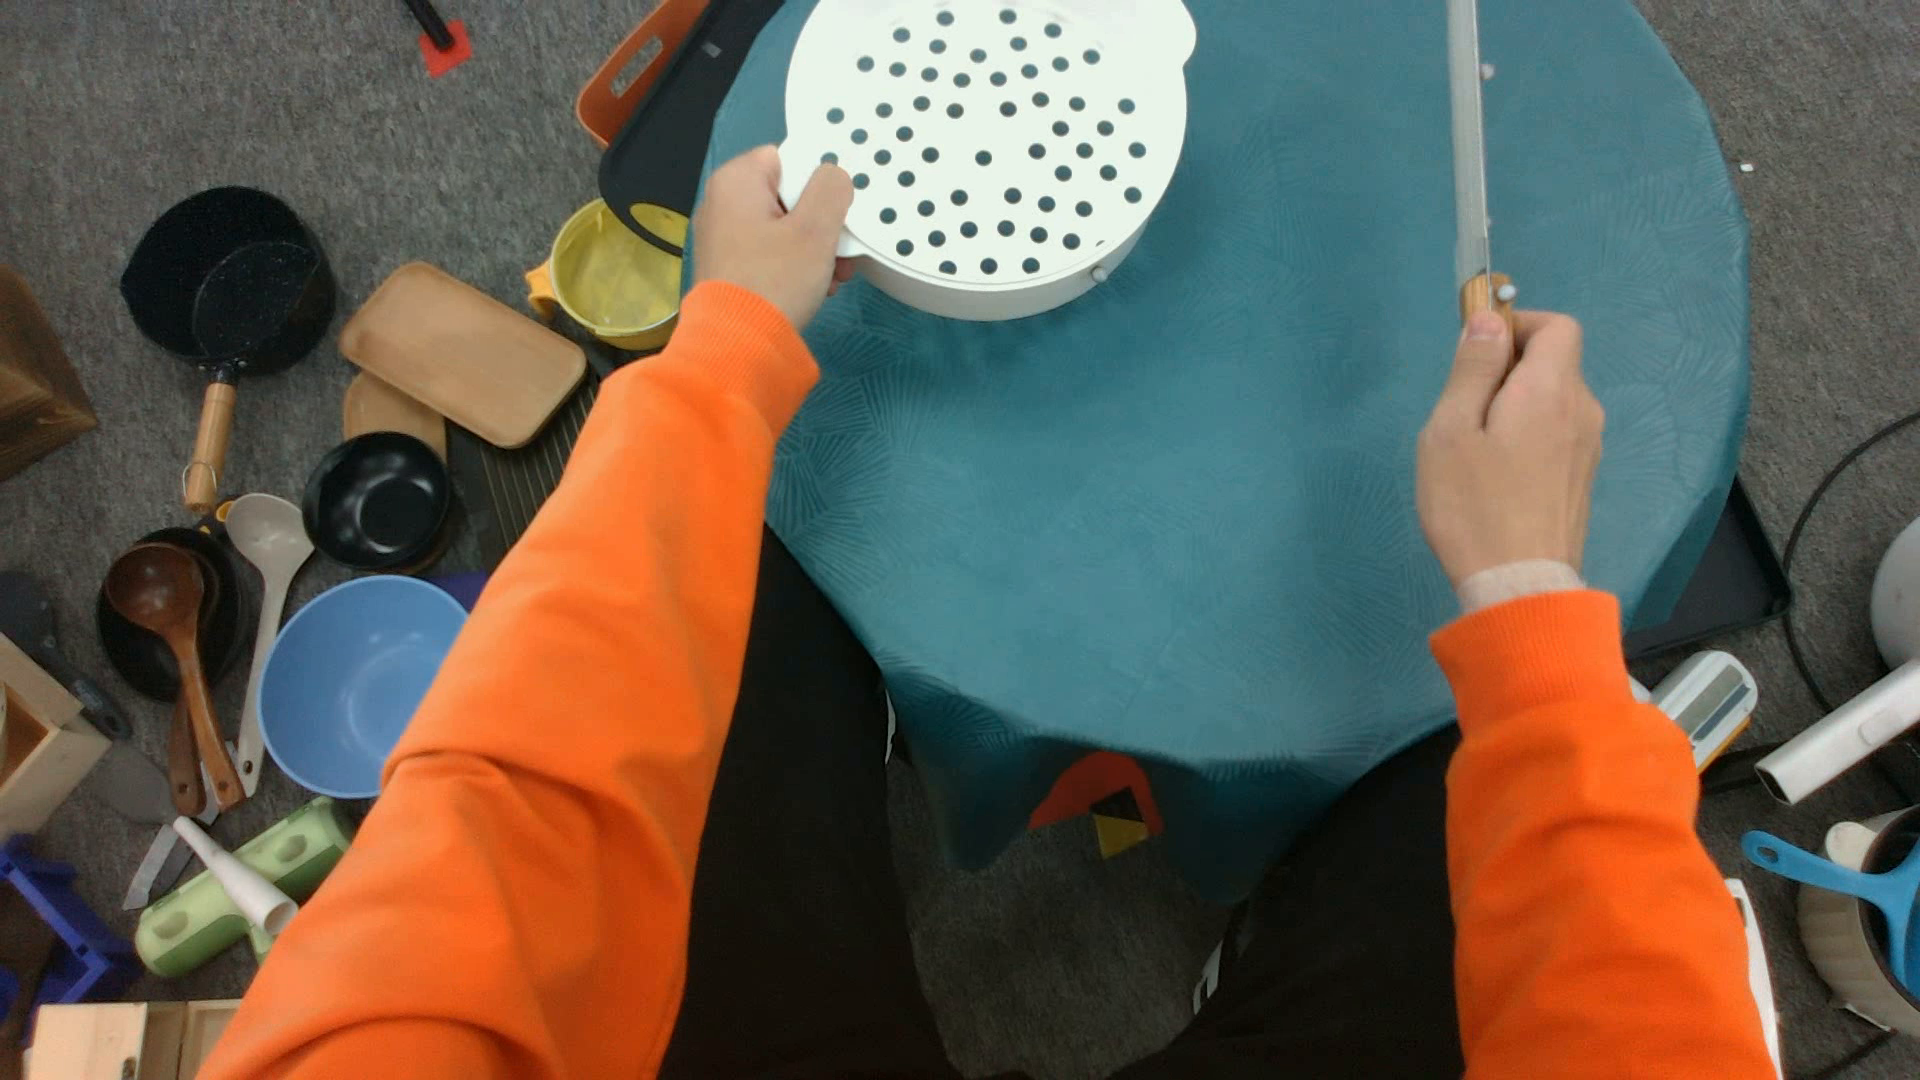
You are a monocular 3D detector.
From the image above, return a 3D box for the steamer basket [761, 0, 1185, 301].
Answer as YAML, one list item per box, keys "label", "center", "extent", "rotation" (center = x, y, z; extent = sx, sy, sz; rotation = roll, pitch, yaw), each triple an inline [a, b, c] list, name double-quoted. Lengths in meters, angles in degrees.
- label: "steamer basket"
  center: [0.008, -0.223, 0.714]
  extent: [0.231, 0.069, 0.202]
  rotation: [-32, 81, -9]

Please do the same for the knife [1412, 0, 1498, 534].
- label: "knife"
  center: [0.230, -0.158, 0.653]
  extent: [0.021, 0.093, 0.305]
  rotation: [-4, 94, 8]
